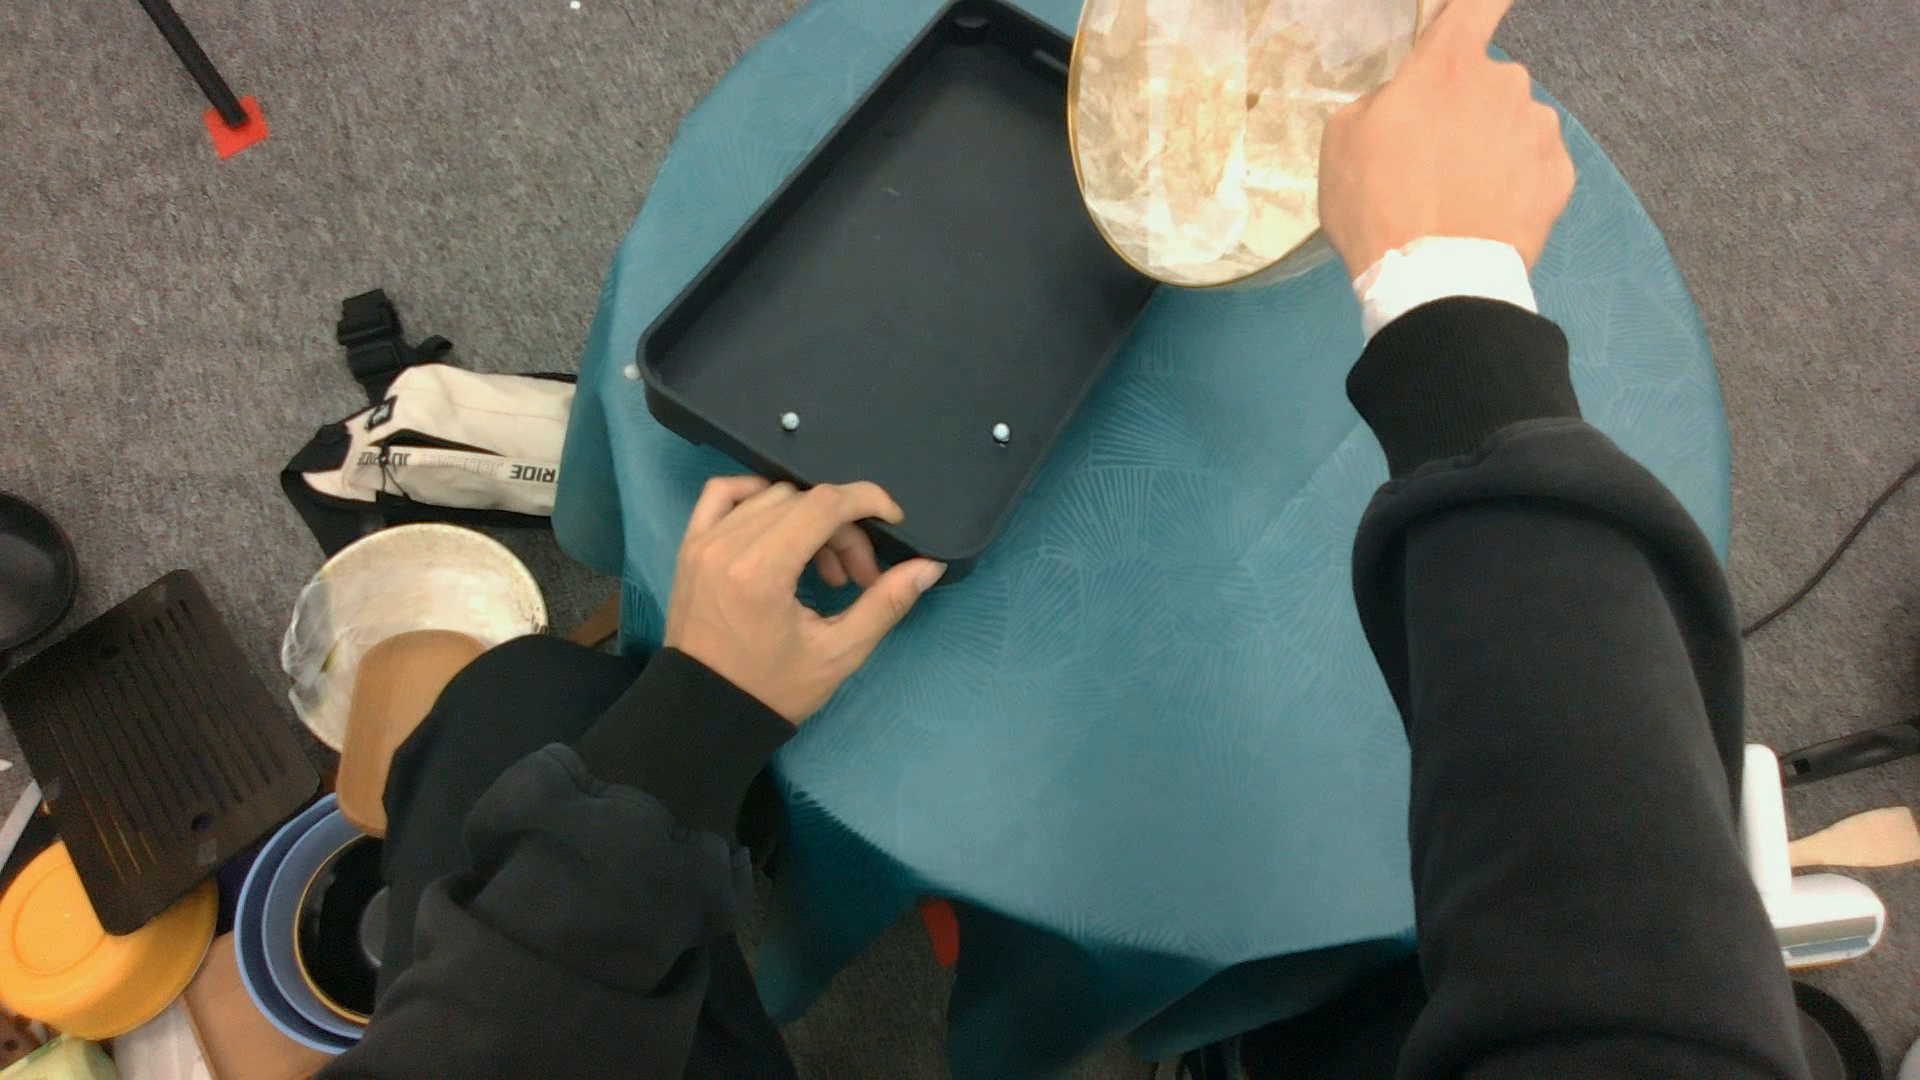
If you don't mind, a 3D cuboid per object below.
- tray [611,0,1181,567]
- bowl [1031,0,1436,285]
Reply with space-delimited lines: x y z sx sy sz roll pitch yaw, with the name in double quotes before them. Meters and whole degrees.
"tray" -0.010 -0.146 0.688 0.184 0.037 0.319 32 60 5
"bowl" 0.139 -0.218 0.643 0.095 0.213 0.215 -1 66 -41
